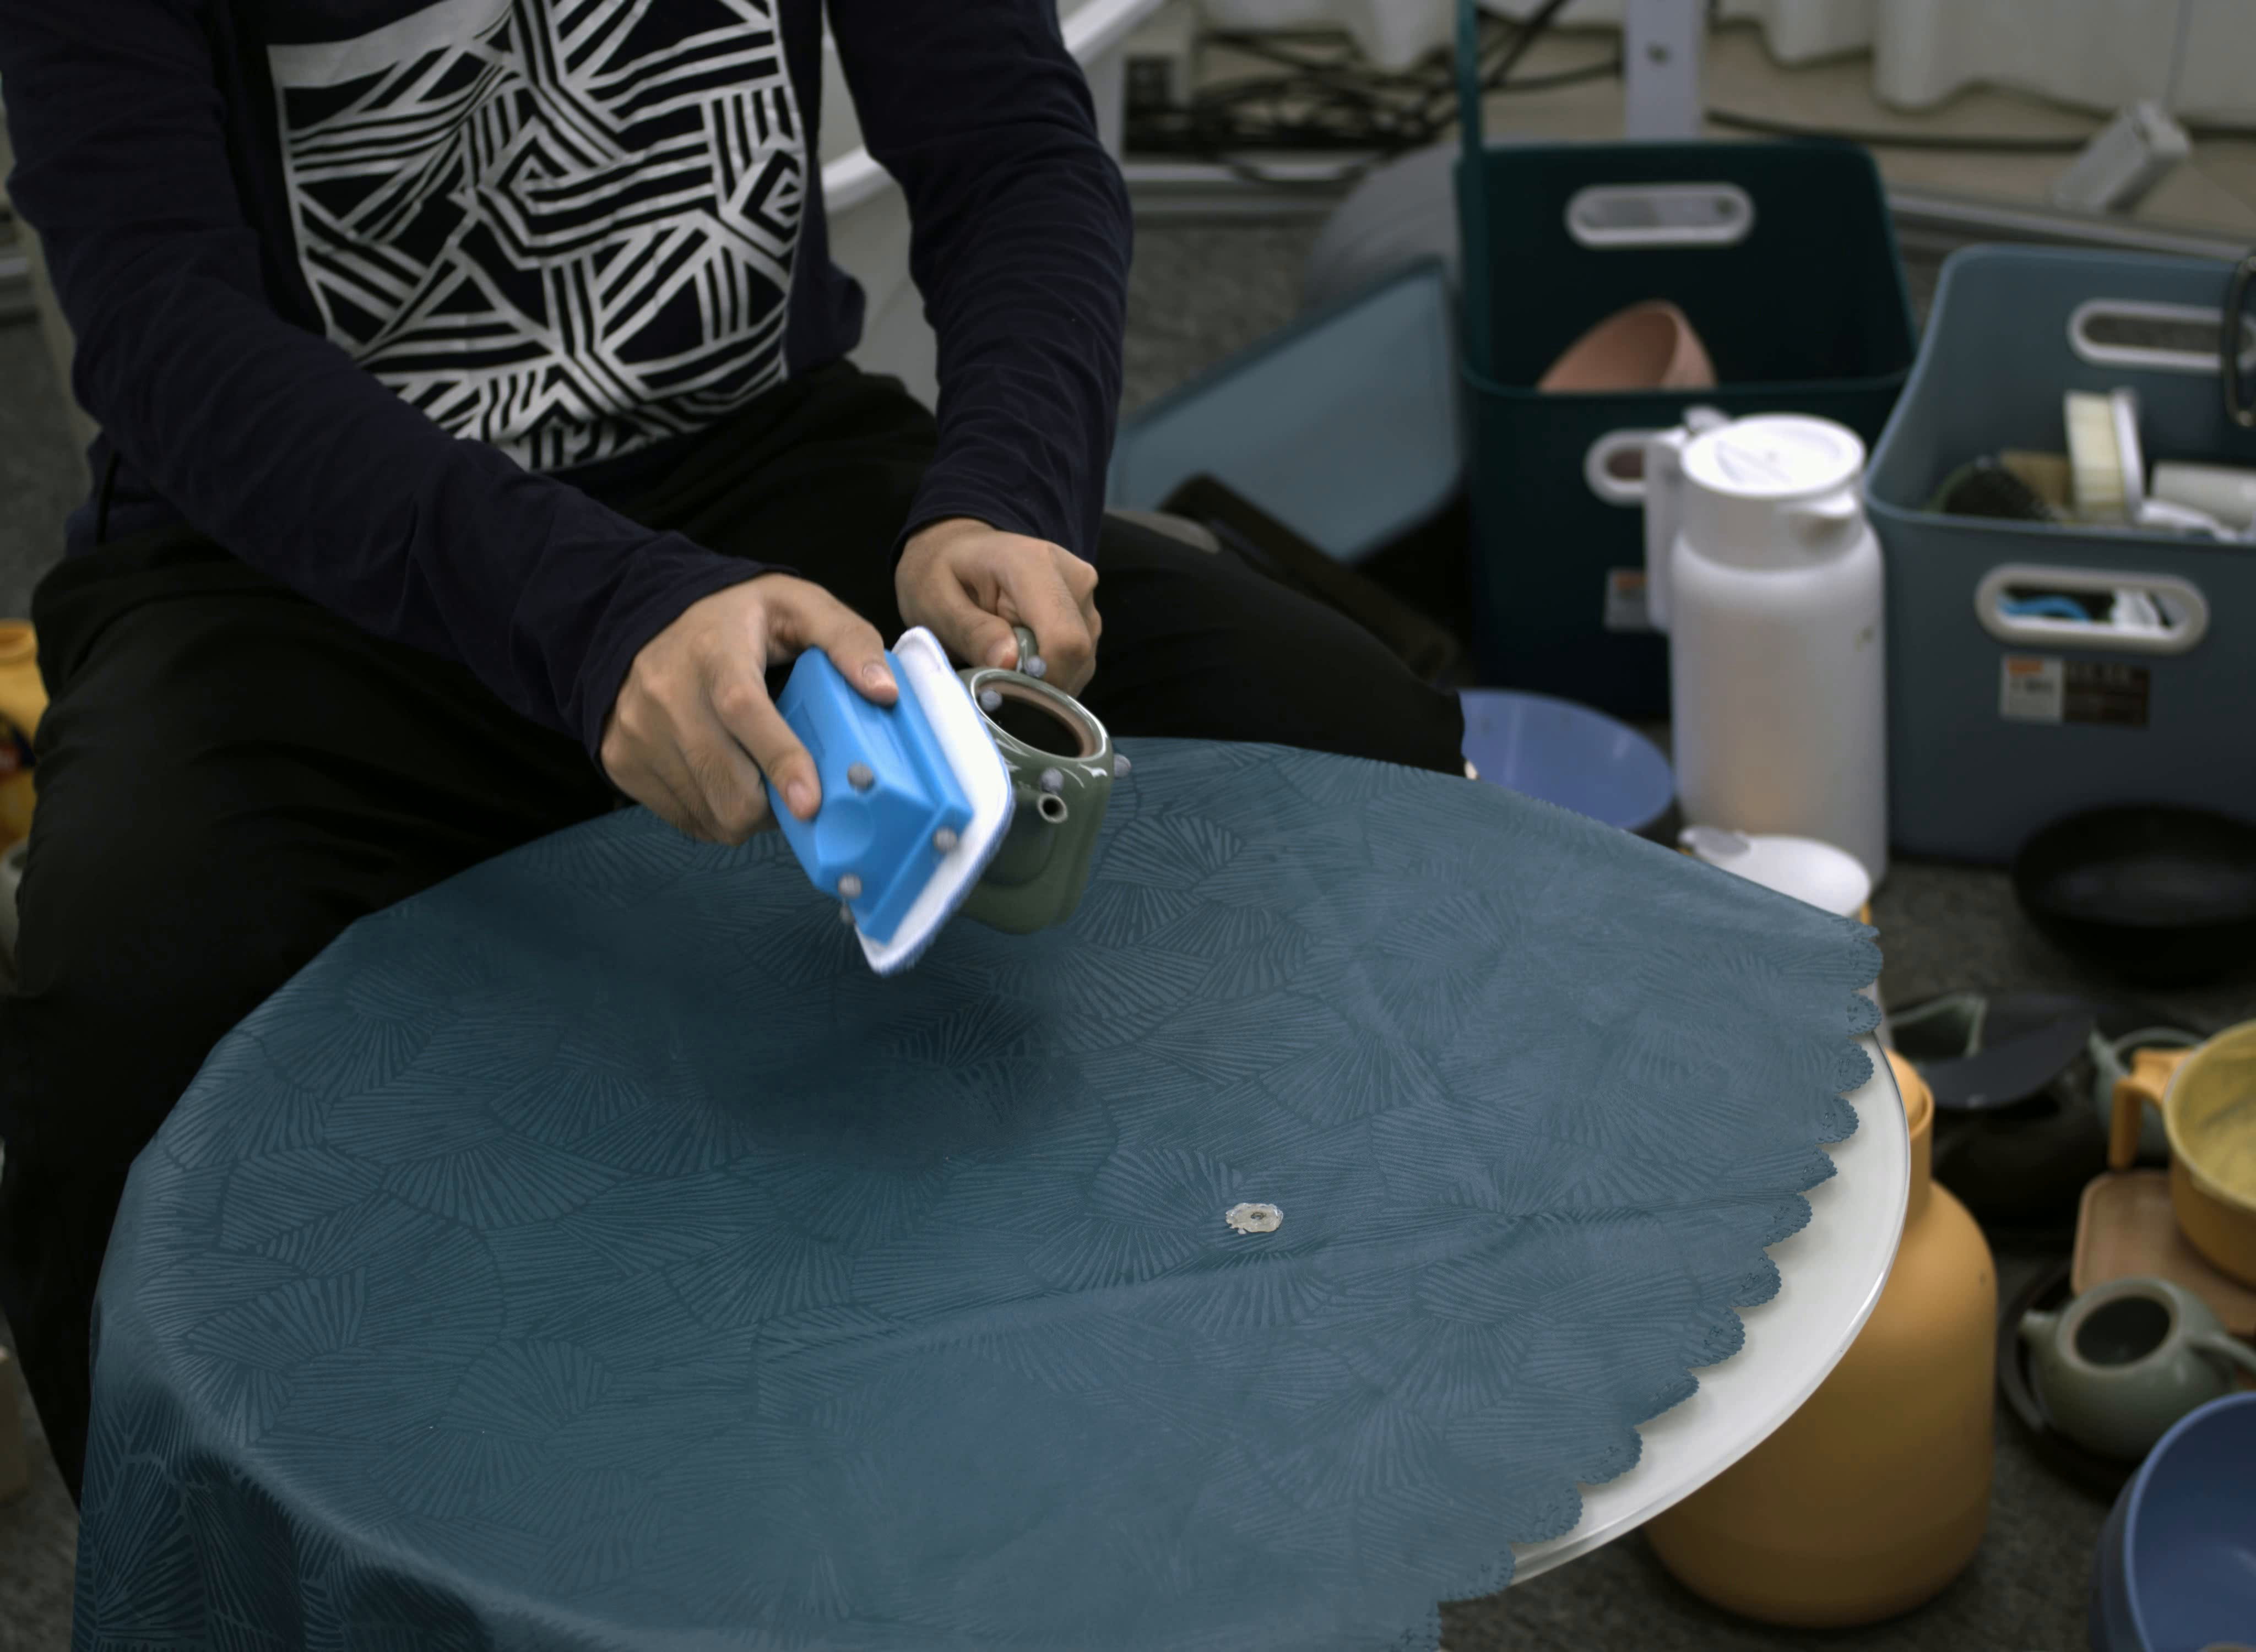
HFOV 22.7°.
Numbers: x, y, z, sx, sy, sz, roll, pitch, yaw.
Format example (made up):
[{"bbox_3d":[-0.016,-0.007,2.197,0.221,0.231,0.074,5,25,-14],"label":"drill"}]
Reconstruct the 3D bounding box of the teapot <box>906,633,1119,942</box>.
[{"bbox_3d":[-0.043,-0.010,1.926,0.079,0.074,0.134,22,25,-18],"label":"teapot"}]

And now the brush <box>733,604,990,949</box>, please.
[{"bbox_3d":[-0.096,-0.023,1.888,0.055,0.083,0.145,31,15,-30],"label":"brush"}]
